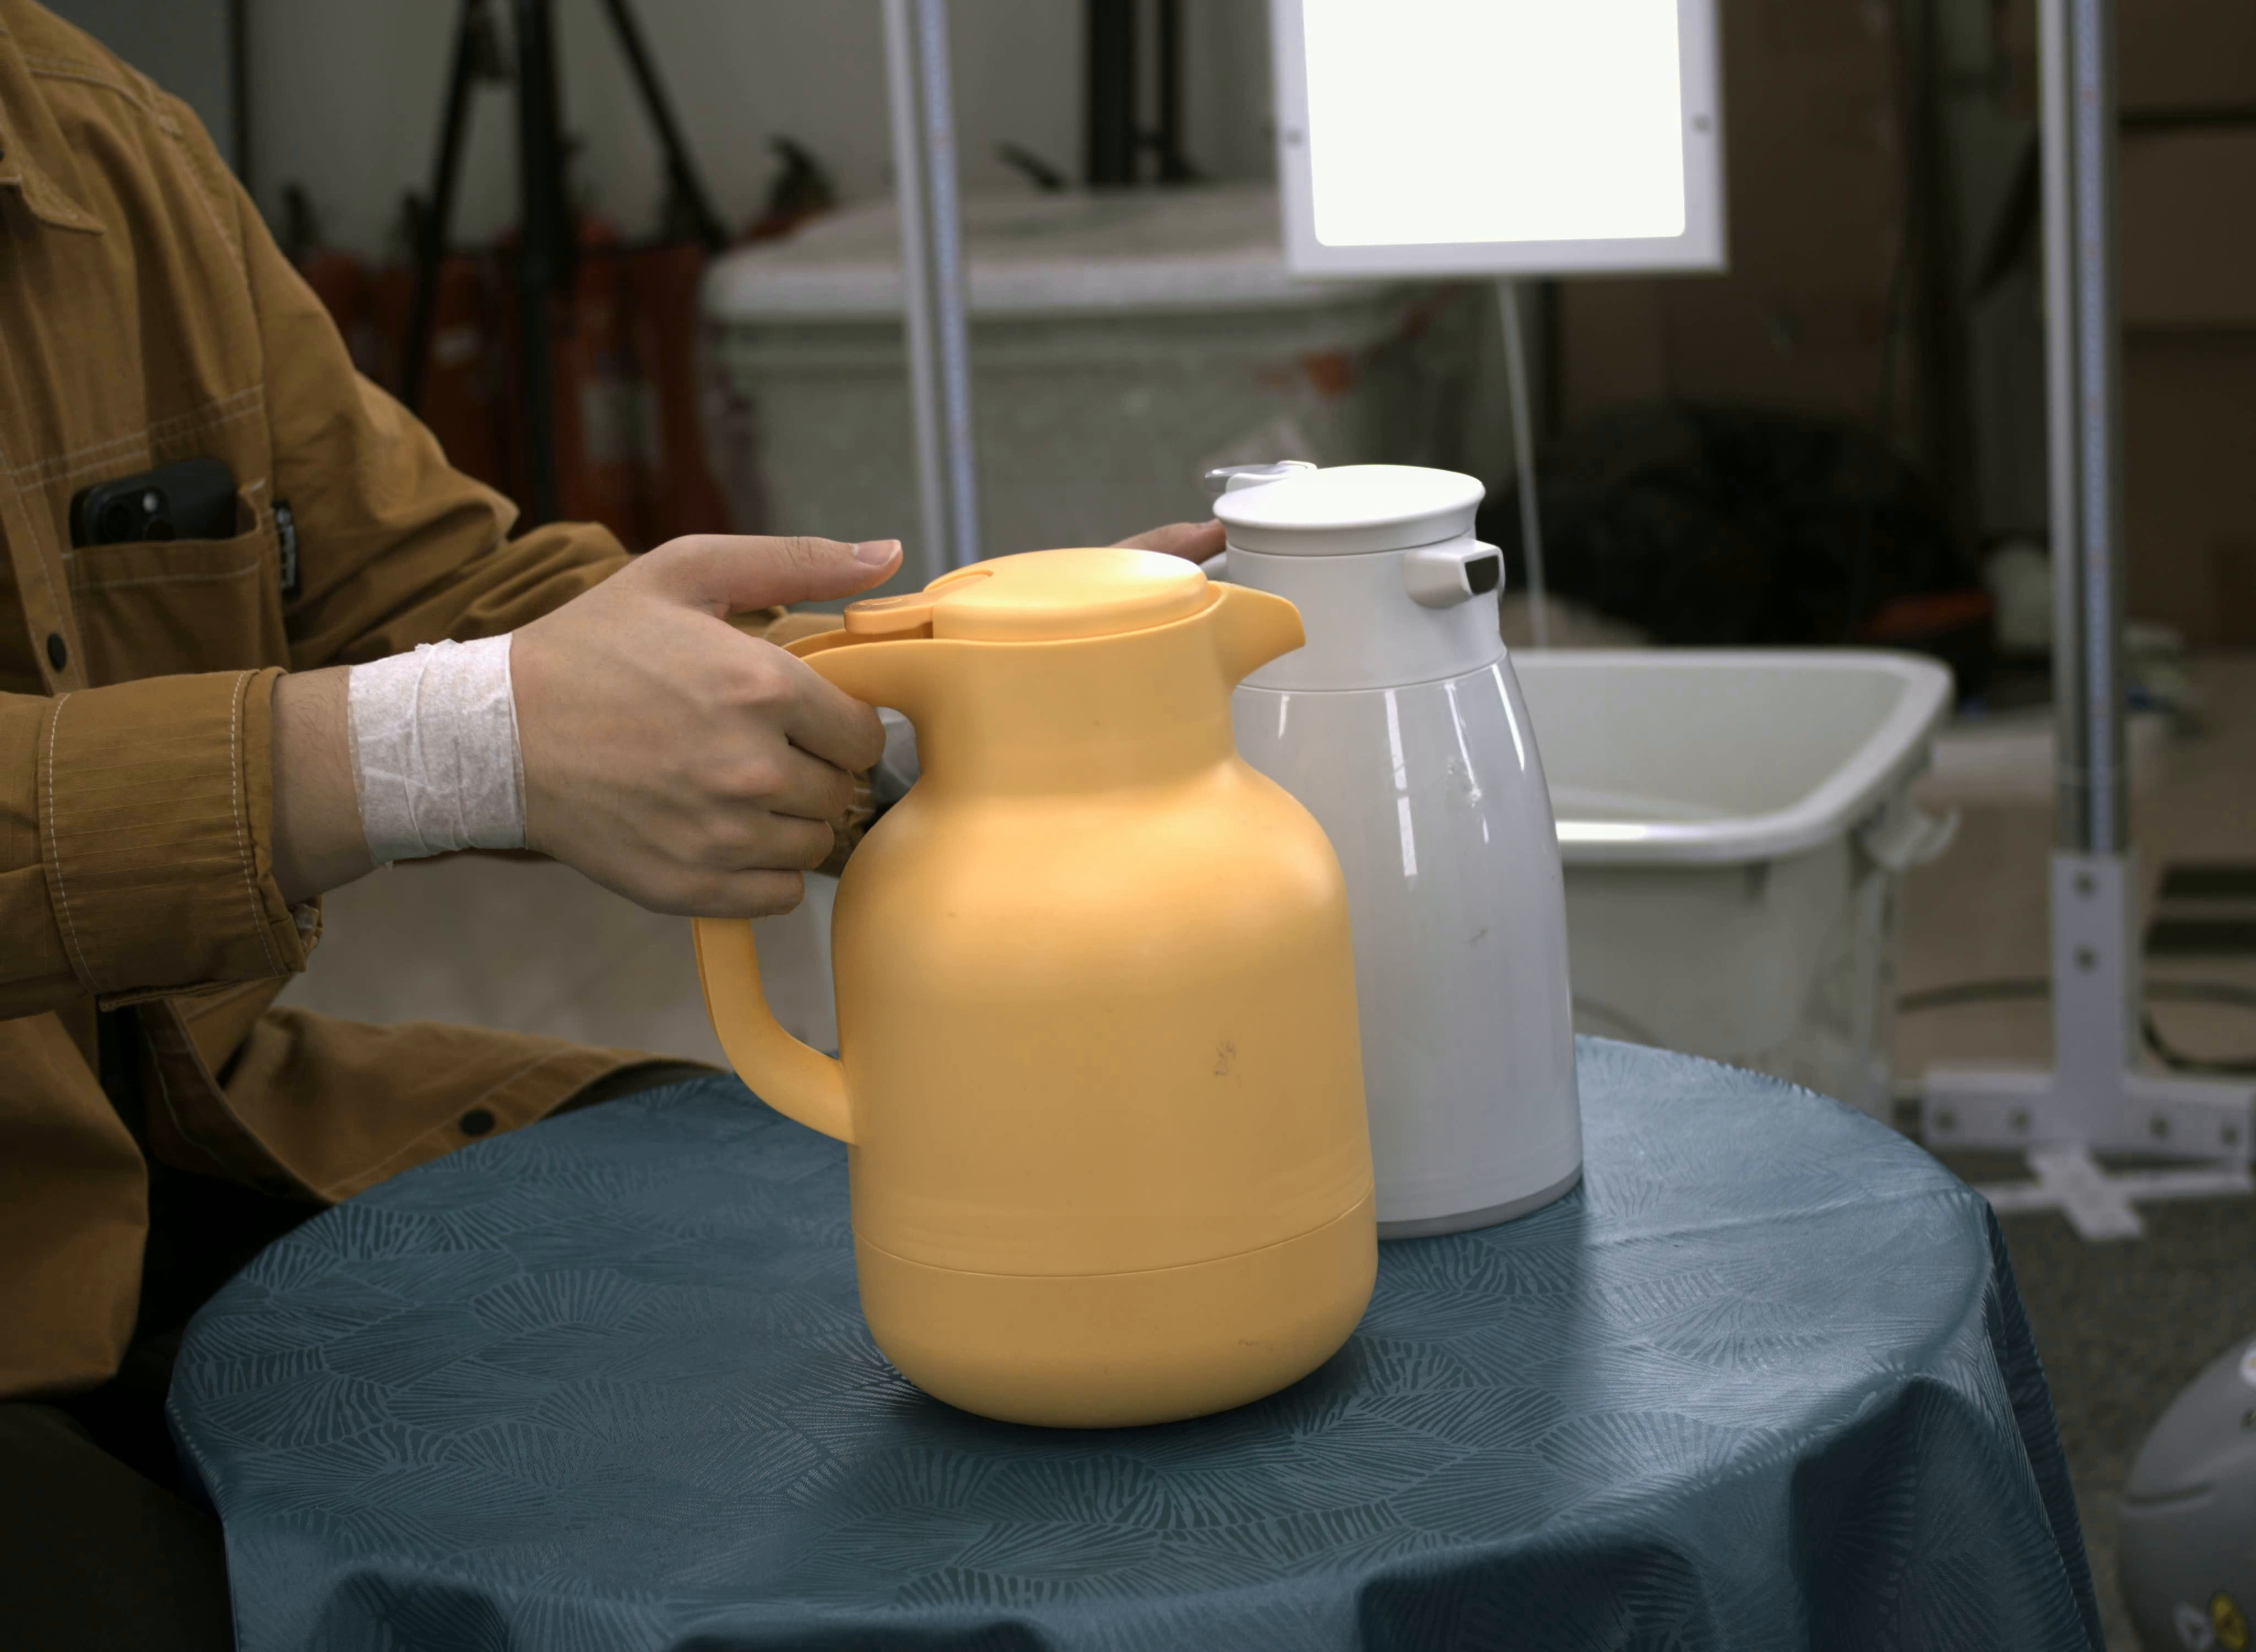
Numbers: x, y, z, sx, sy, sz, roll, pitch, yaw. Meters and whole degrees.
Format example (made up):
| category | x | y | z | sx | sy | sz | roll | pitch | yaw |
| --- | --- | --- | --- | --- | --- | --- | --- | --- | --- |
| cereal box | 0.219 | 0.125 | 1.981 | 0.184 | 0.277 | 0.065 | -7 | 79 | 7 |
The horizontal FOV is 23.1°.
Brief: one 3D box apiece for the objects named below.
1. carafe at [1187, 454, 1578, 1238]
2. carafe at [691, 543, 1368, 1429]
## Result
| category | x | y | z | sx | sy | sz | roll | pitch | yaw |
| --- | --- | --- | --- | --- | --- | --- | --- | --- | --- |
| carafe | 0.068 | -0.001 | 1.869 | 0.129 | 0.249 | 0.171 | -16 | 17 | -39 |
| carafe | -0.030 | 0.047 | 1.690 | 0.201 | 0.261 | 0.164 | -5 | 11 | -6 |
